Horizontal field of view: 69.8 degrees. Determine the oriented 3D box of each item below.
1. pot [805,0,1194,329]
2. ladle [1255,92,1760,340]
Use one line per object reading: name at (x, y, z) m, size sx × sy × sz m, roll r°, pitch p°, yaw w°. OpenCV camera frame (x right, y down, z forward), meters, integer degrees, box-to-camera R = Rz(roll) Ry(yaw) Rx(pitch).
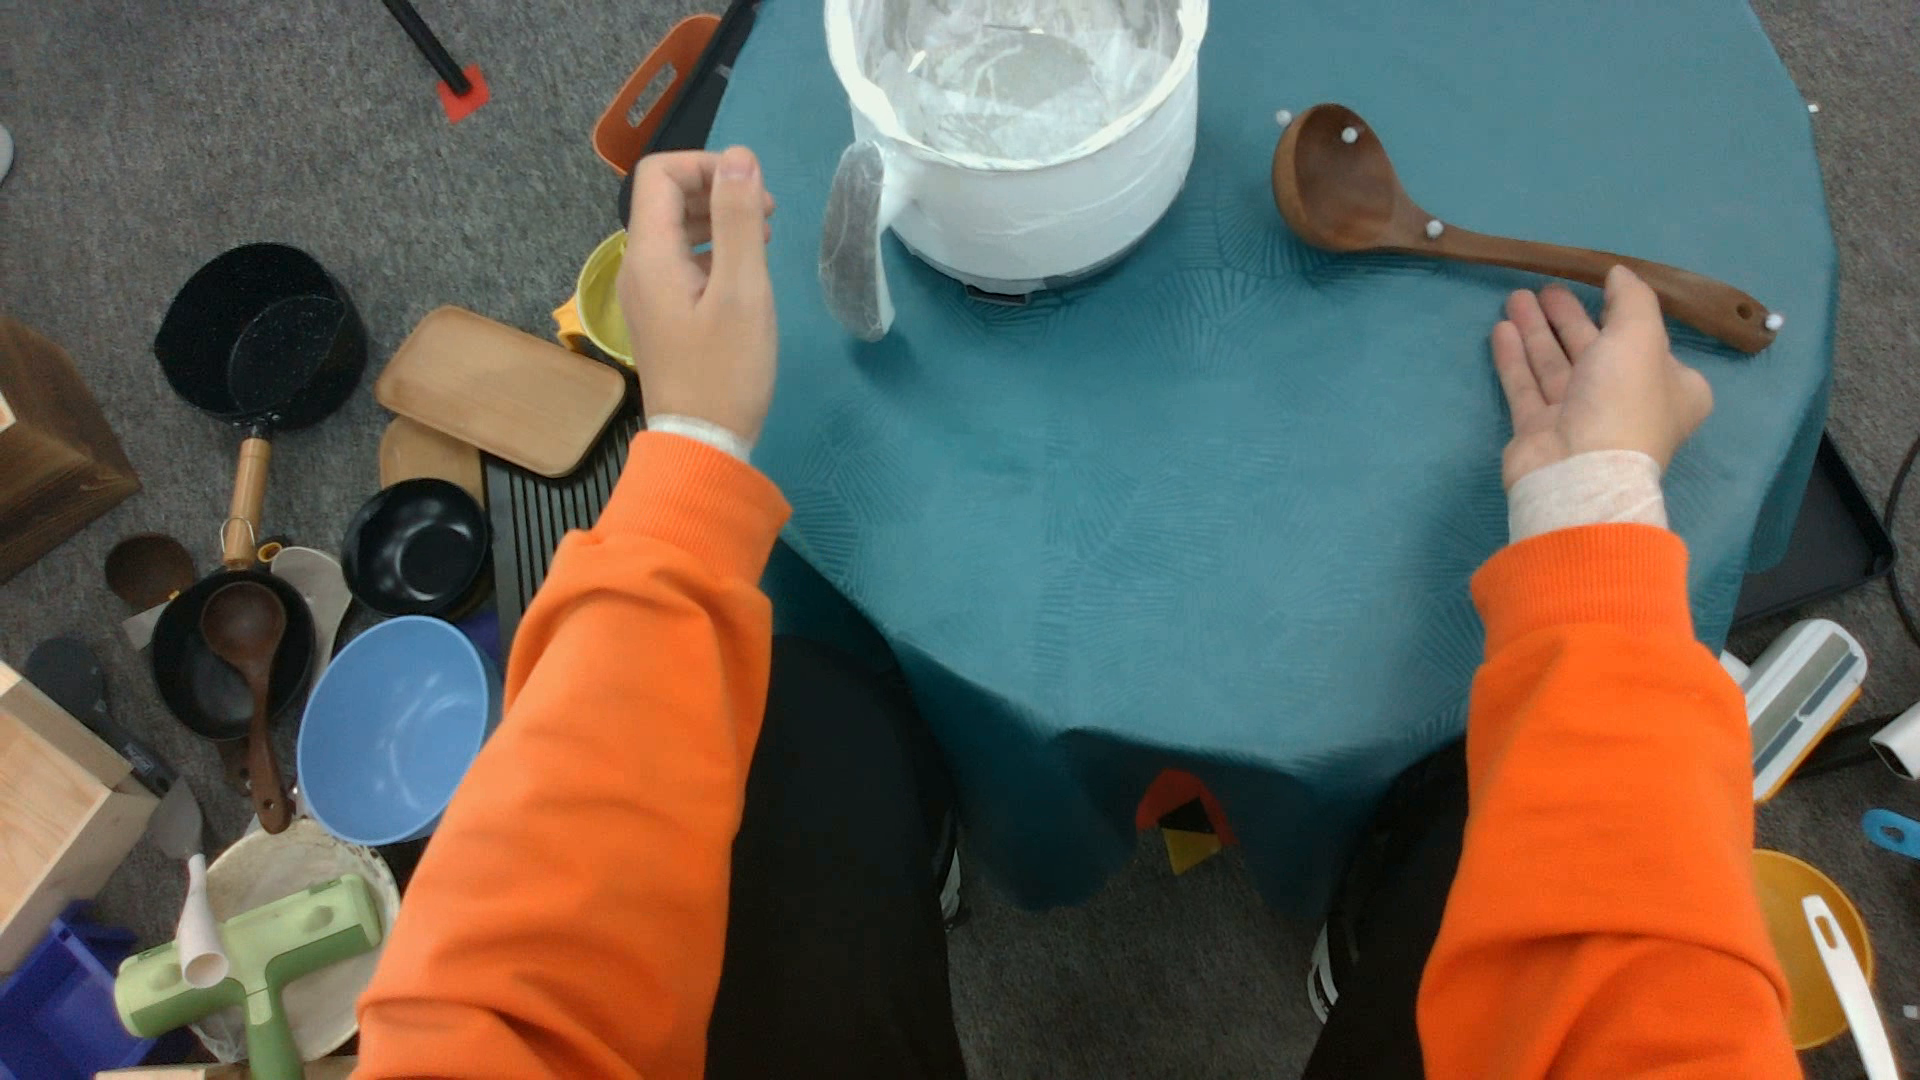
pot at (0.008, -0.212, 0.690) m, size 0.179 × 0.136 × 0.234 m, roll 37°, pitch 79°, yaw 16°
ladle at (0.274, -0.157, 0.685) m, size 0.260 × 0.065 × 0.076 m, roll 20°, pitch 78°, yaw 12°
